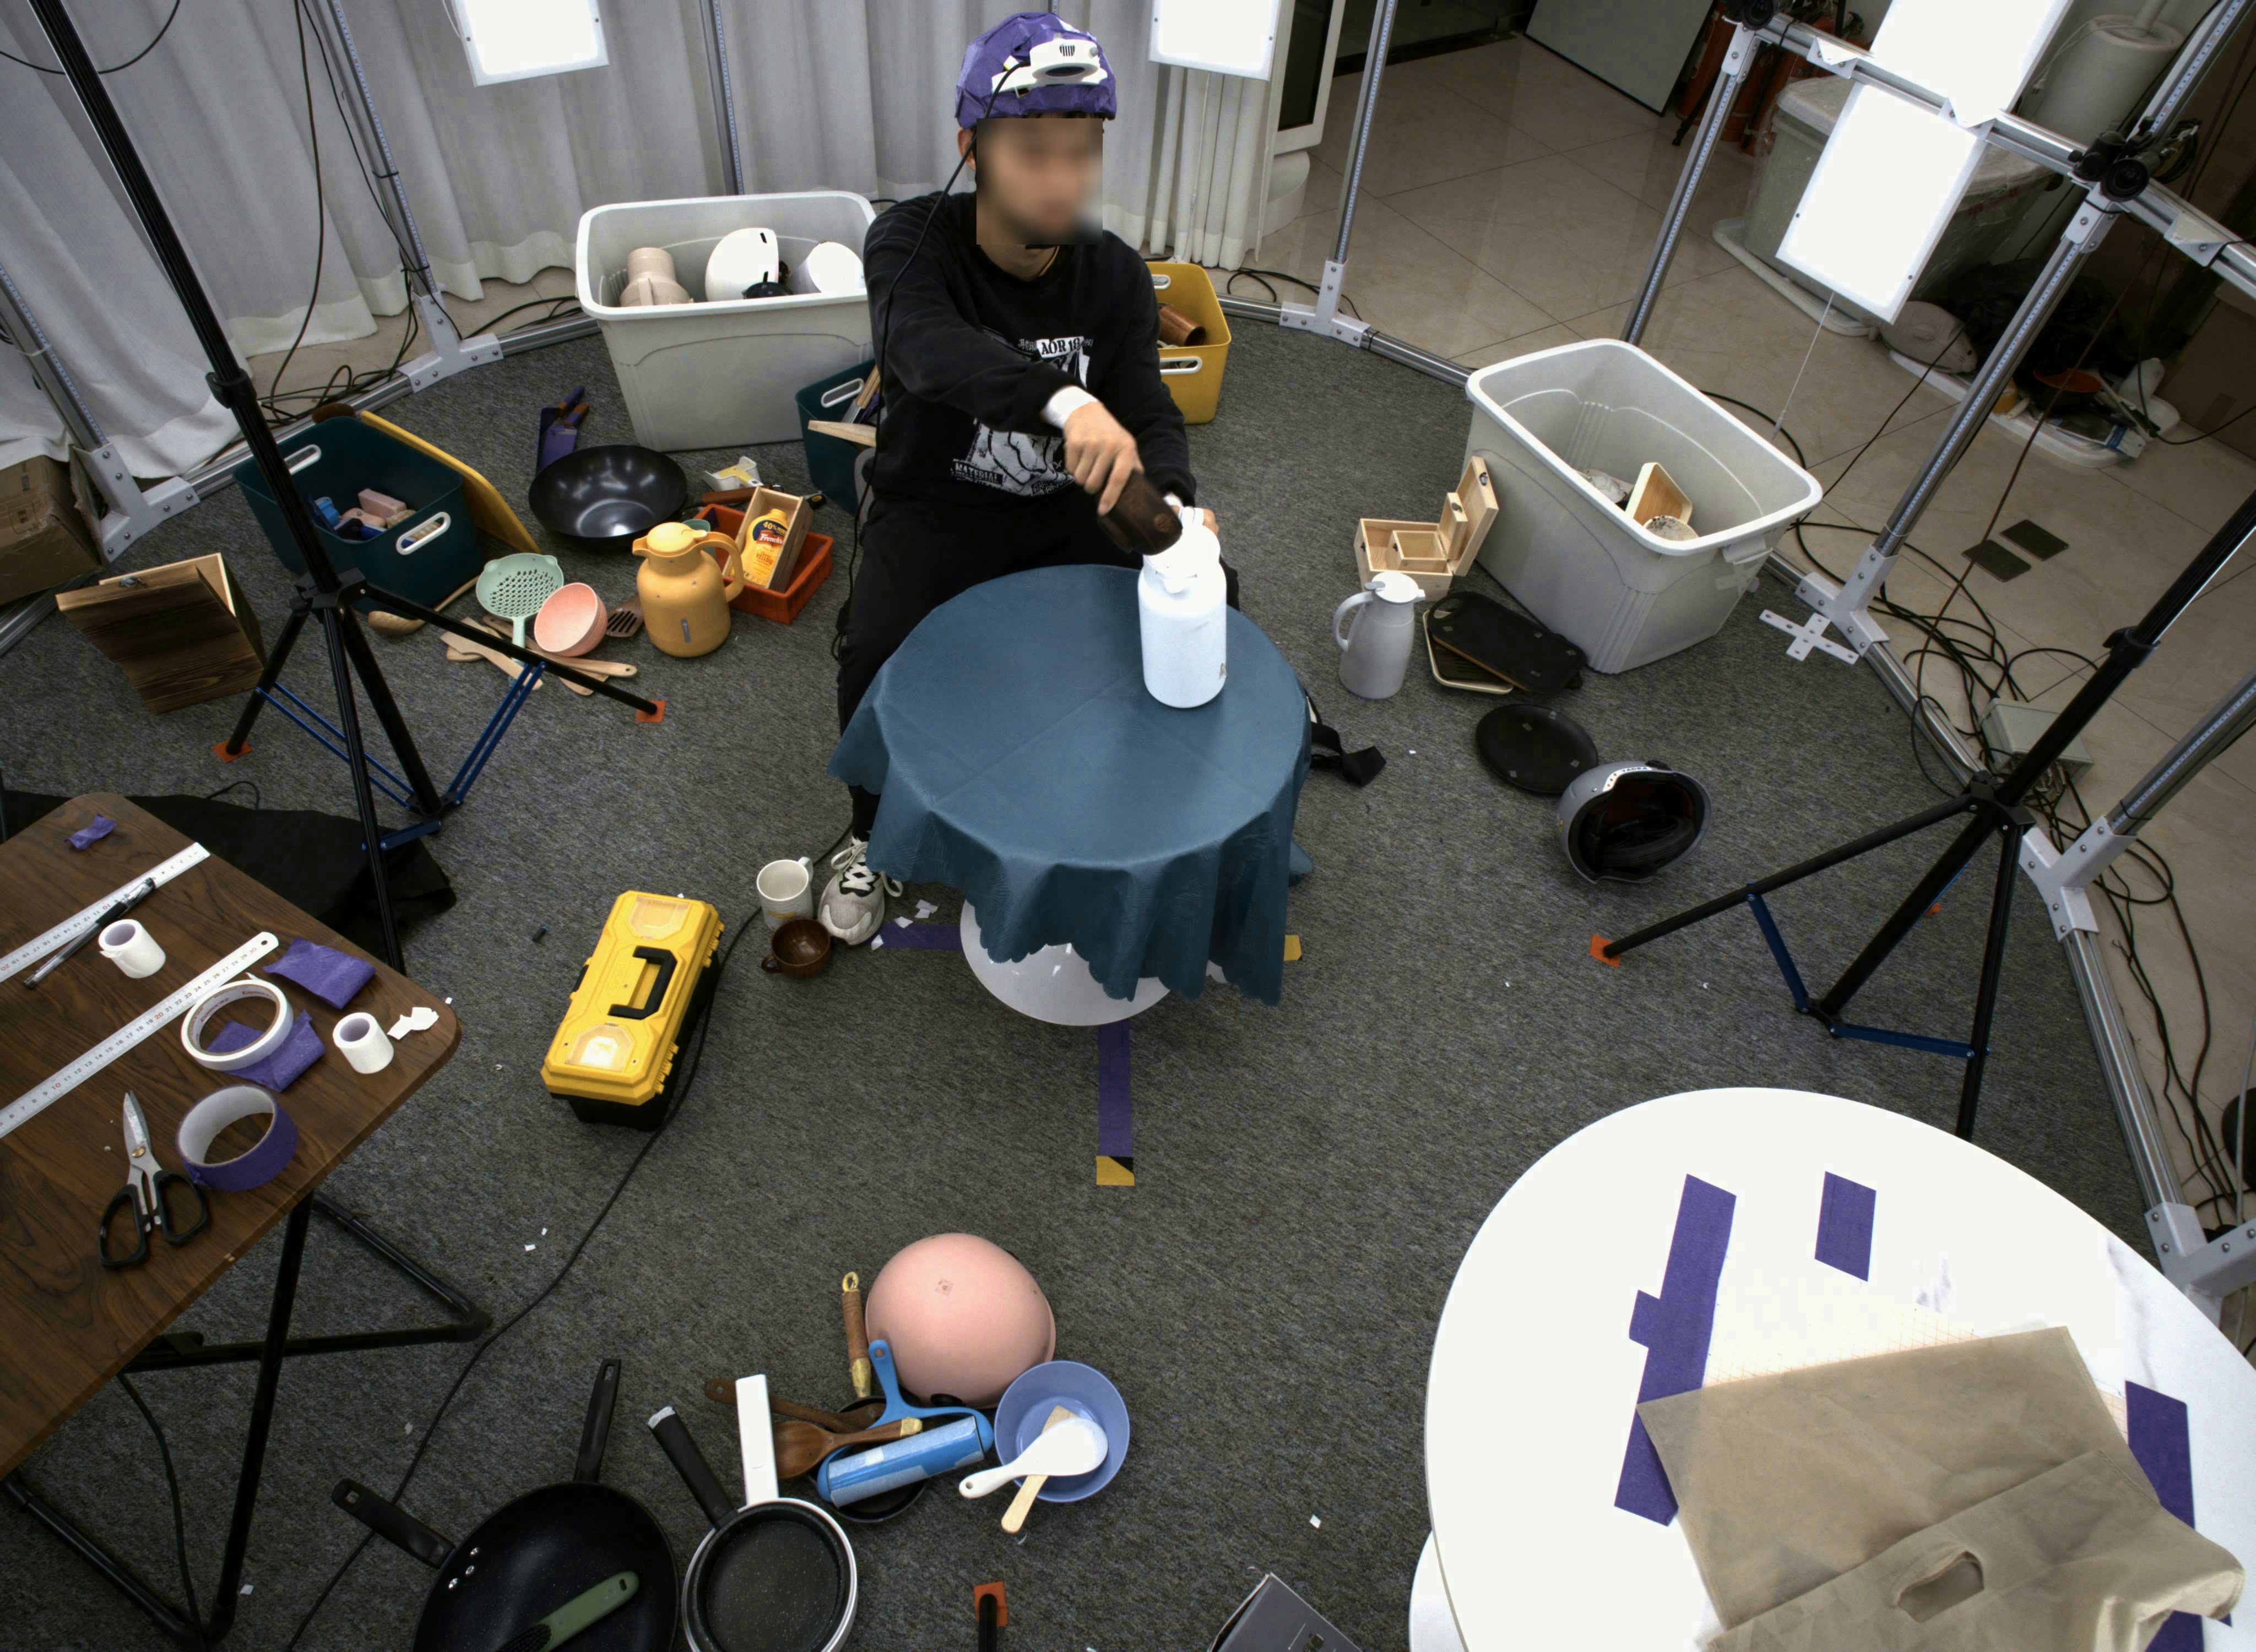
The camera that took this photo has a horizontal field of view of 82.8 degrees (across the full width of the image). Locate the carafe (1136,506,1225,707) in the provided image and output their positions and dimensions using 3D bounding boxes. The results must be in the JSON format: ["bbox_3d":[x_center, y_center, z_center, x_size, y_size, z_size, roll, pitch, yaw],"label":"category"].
[{"bbox_3d":[0.074,-0.299,1.750,0.124,0.262,0.176,4,57,10],"label":"carafe"}]

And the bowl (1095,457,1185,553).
[{"bbox_3d":[0.005,-0.377,1.554,0.070,0.116,0.120,-44,61,-2],"label":"bowl"}]
